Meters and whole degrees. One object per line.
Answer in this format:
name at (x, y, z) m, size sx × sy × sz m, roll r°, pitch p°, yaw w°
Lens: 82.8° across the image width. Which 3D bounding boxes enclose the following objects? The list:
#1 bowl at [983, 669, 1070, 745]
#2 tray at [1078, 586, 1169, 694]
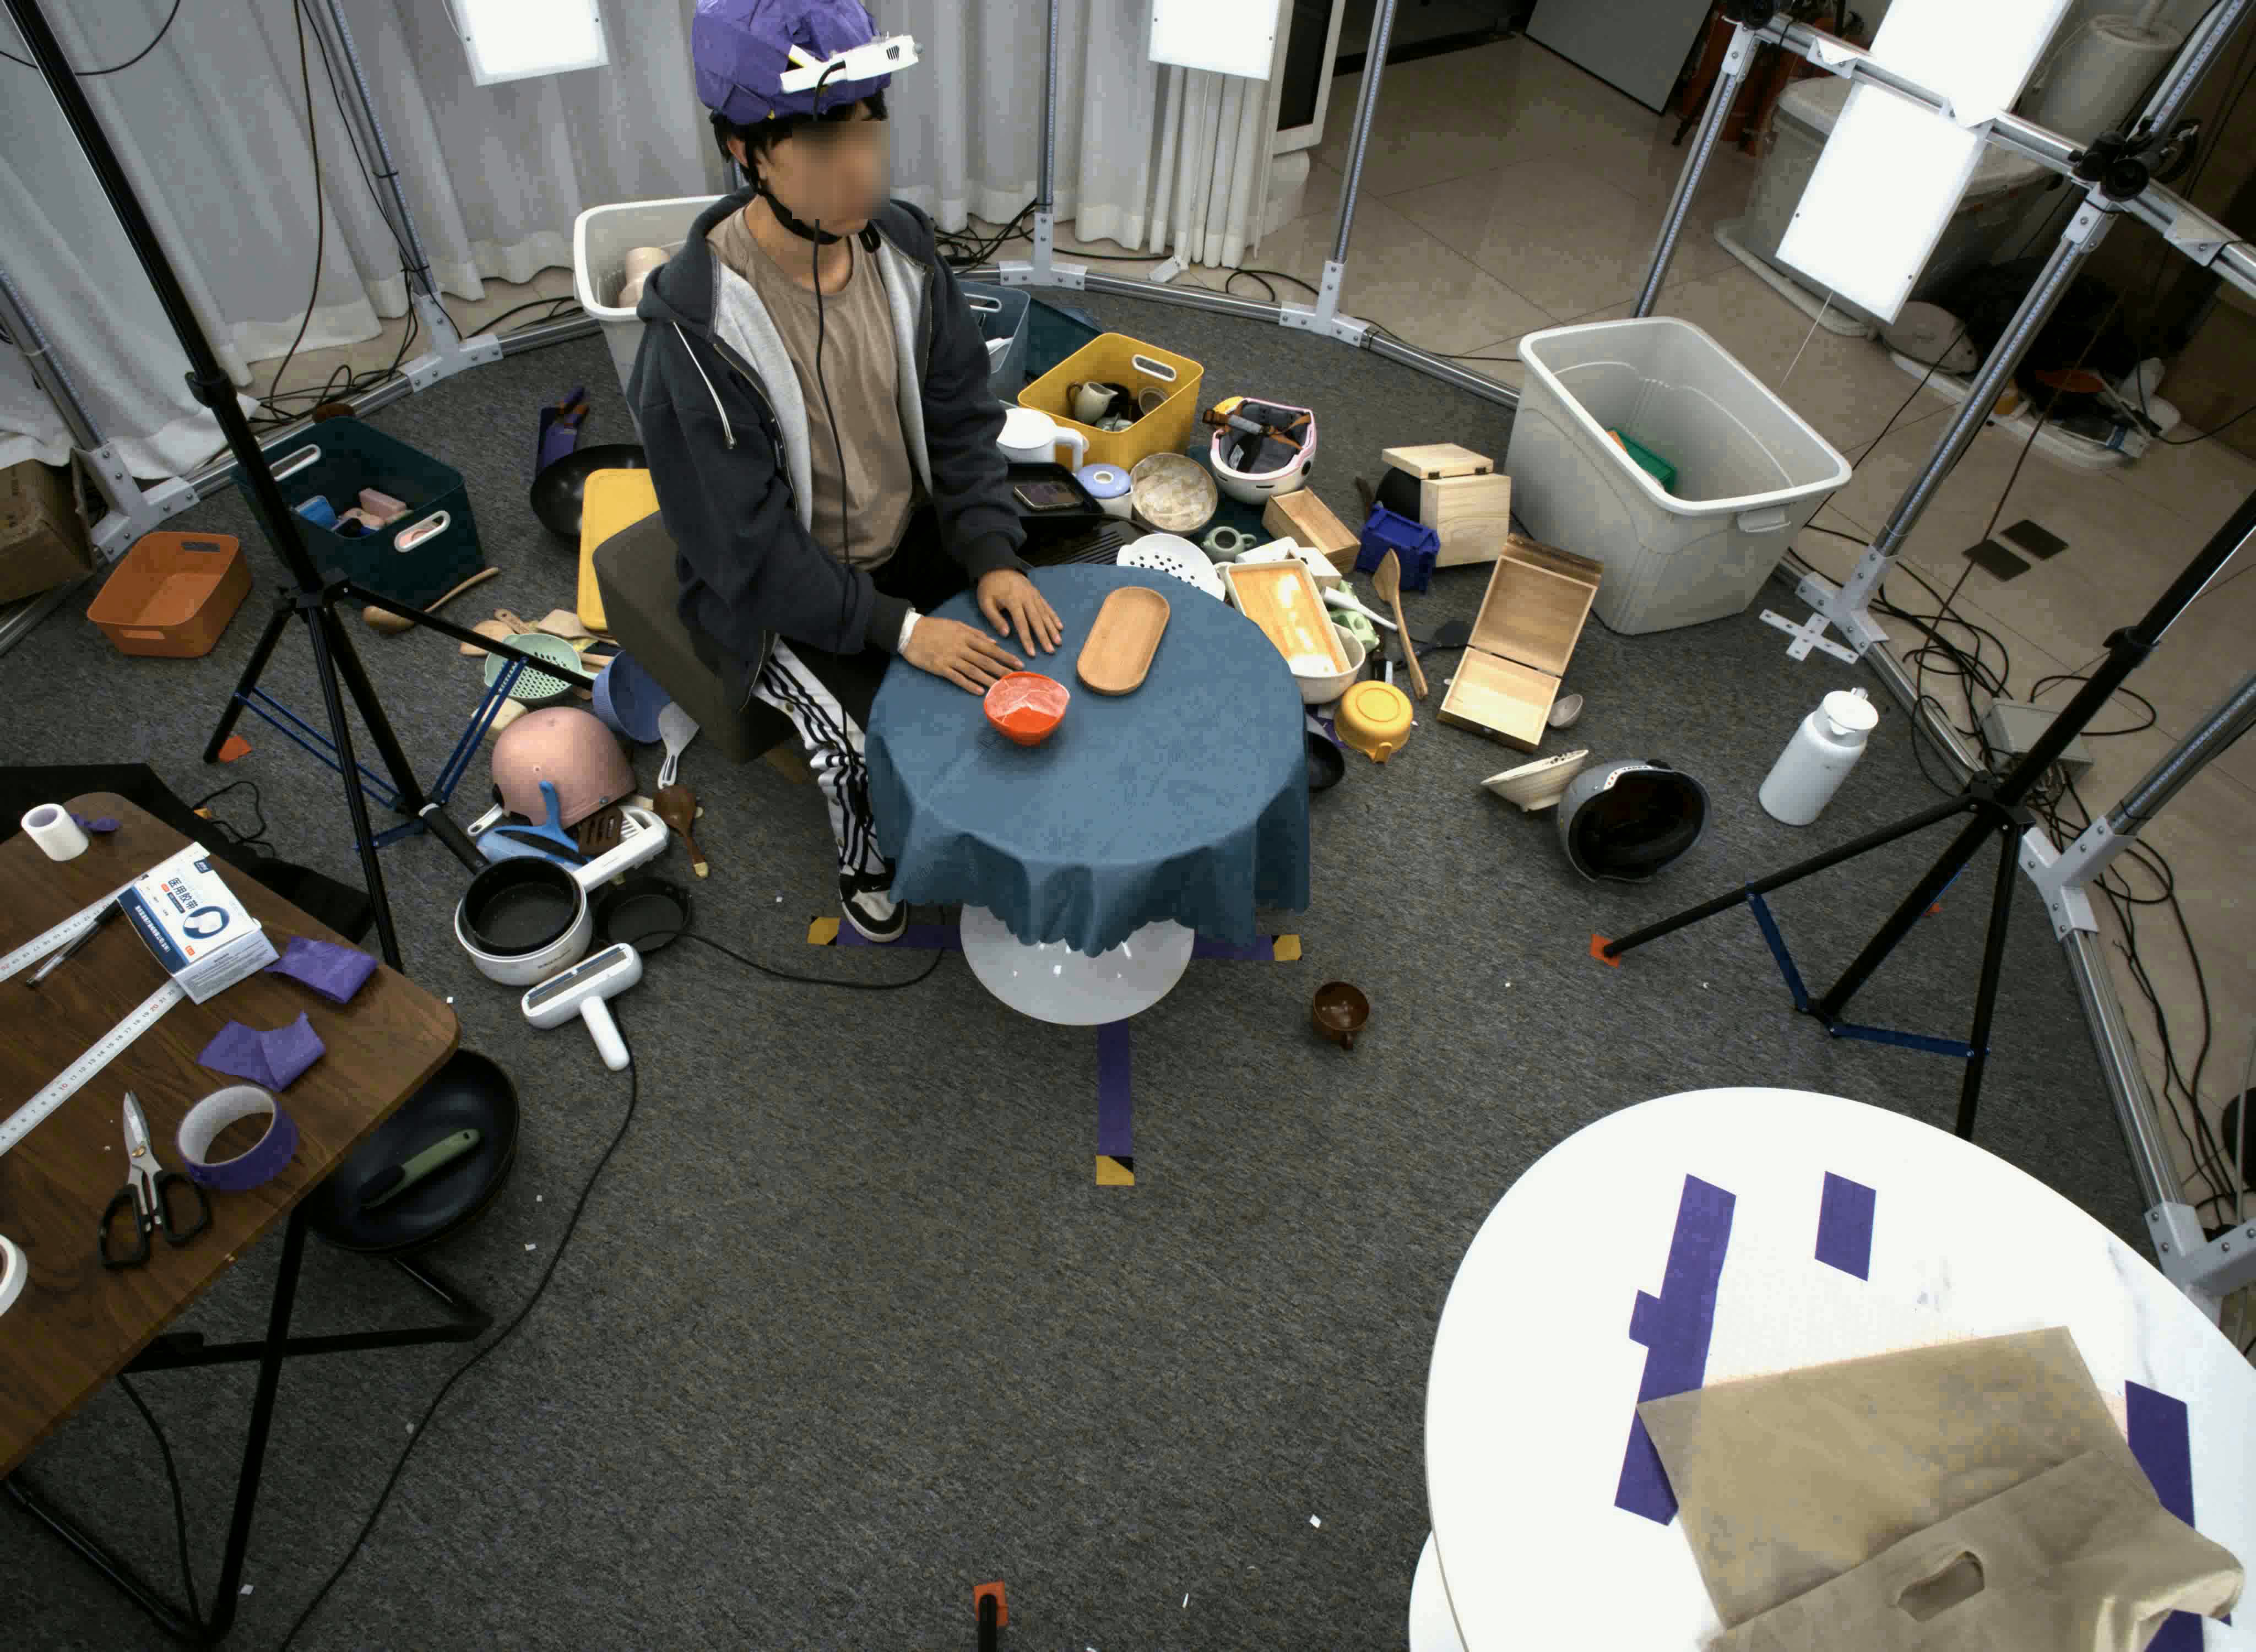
bowl at (-0.139, -0.156, 1.756) m, size 0.119 × 0.050 × 0.122 m, roll 3°, pitch 51°, yaw -4°
tray at (-0.006, -0.277, 1.897) m, size 0.102 × 0.020 × 0.236 m, roll 13°, pitch 48°, yaw 7°
